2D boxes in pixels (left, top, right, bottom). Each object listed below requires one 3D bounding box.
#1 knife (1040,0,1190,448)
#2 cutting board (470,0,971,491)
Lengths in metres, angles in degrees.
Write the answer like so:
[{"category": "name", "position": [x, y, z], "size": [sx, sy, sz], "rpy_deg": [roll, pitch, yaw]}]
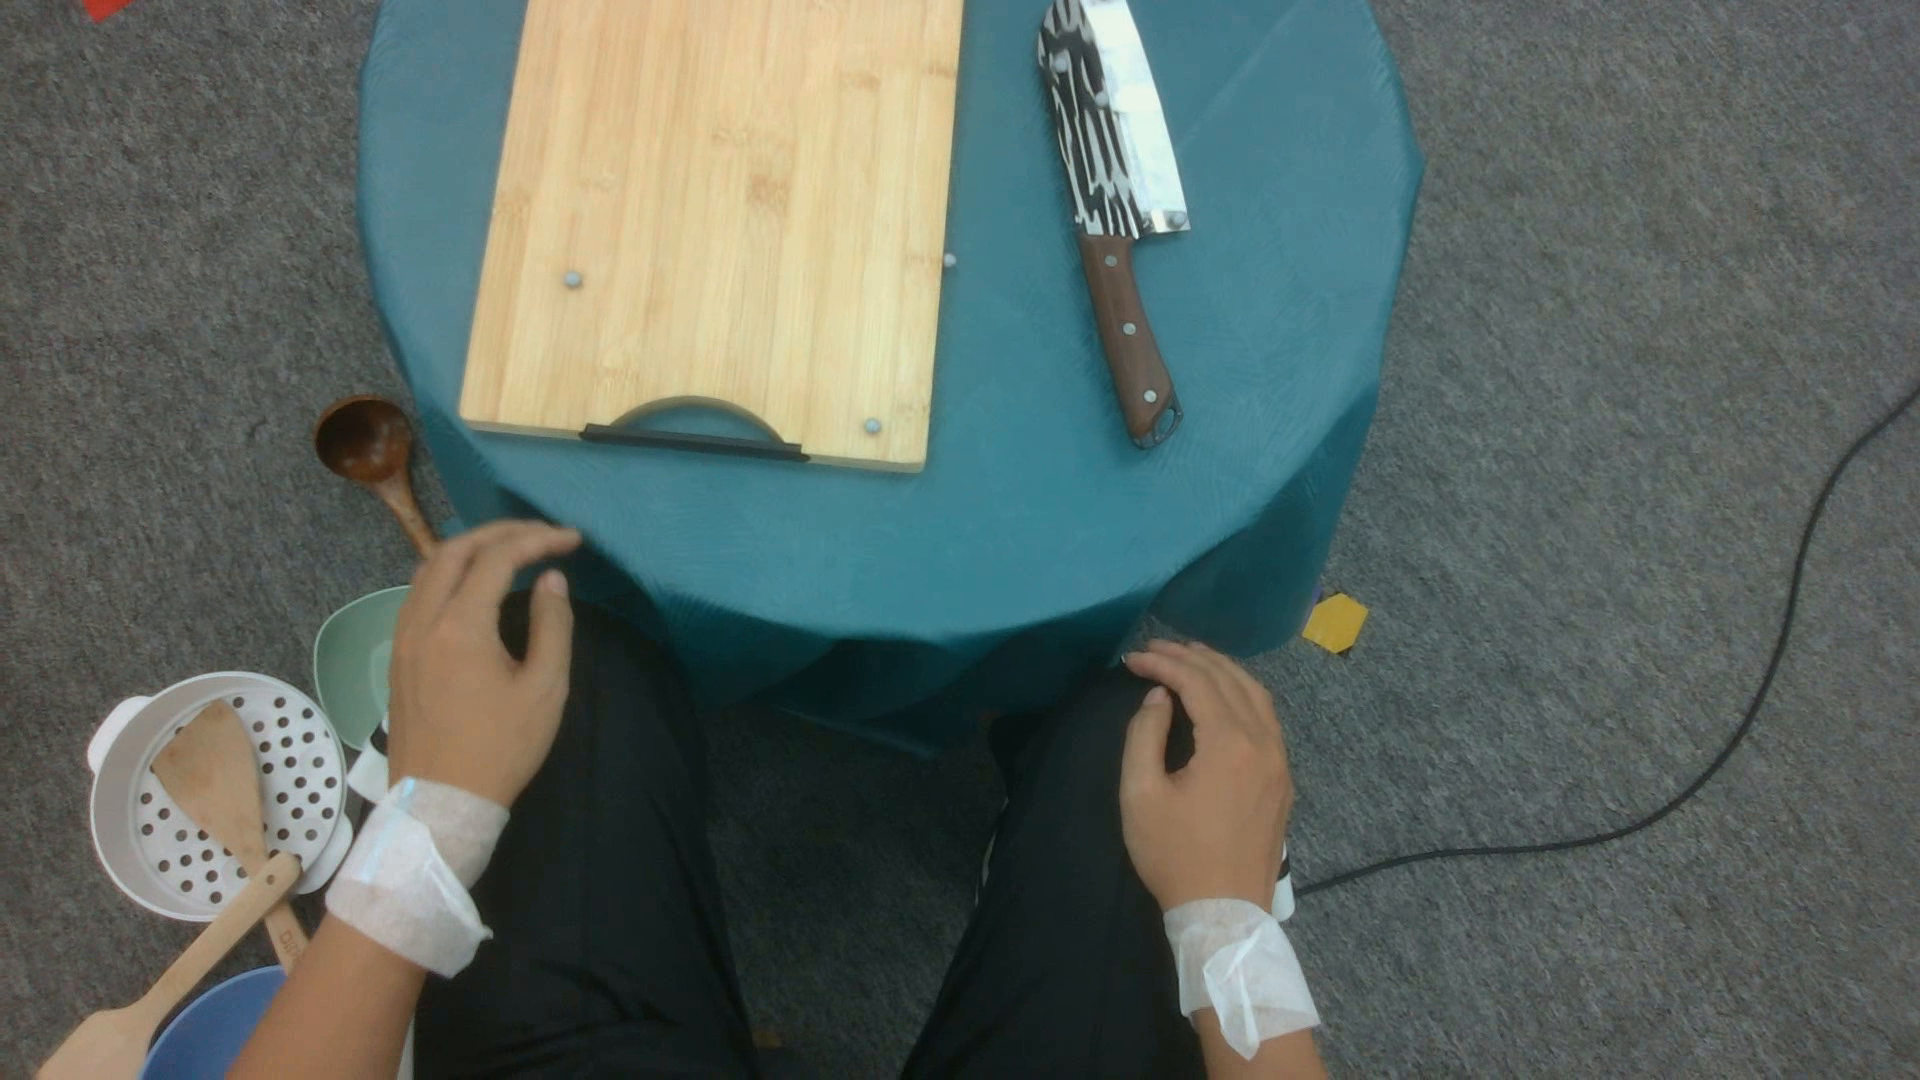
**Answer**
[{"category": "knife", "position": [0.096, -0.196, 0.795], "size": [0.068, 0.024, 0.300], "rpy_deg": [-7, 74, -9]}, {"category": "cutting board", "position": [-0.125, -0.205, 0.780], "size": [0.251, 0.023, 0.349], "rpy_deg": [4, 75, -4]}]
